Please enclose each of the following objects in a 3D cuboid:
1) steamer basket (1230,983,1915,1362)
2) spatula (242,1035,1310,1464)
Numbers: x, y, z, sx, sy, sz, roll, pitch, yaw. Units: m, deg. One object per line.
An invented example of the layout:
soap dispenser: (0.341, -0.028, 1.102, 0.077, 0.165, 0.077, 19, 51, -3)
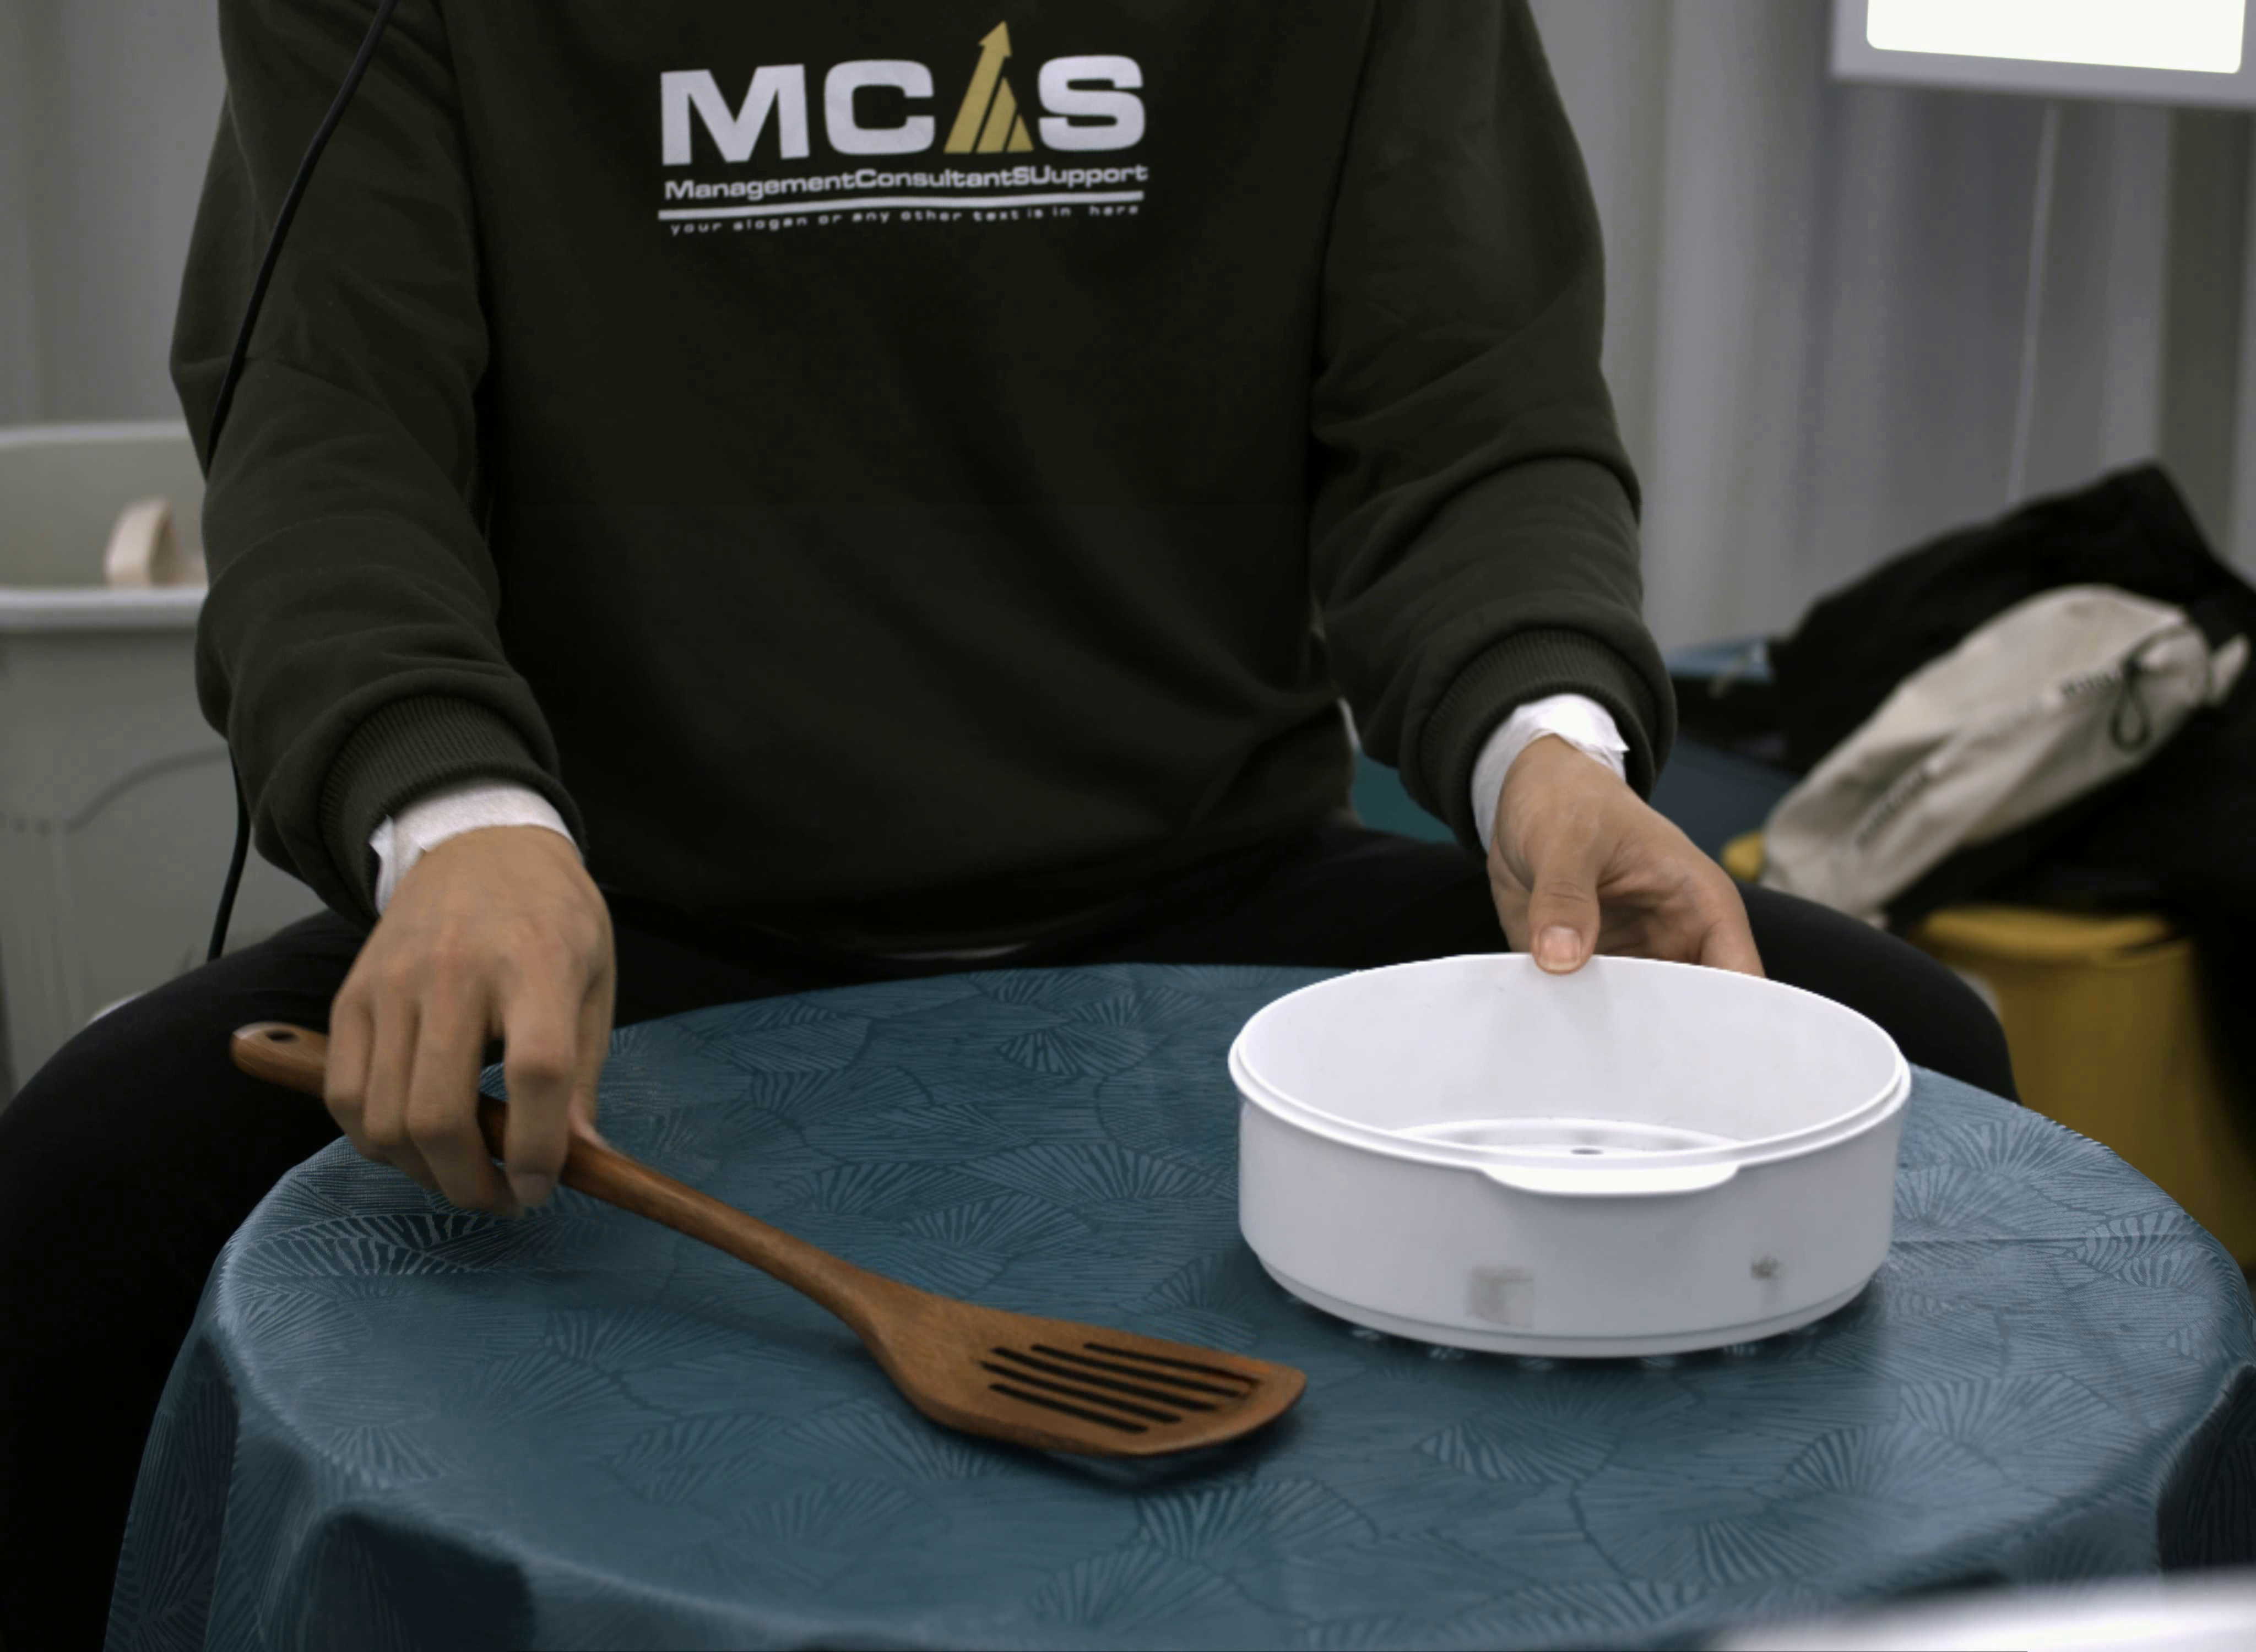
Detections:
steamer basket: (0.129, 0.101, 1.553, 0.201, 0.070, 0.229, 2, 12, -4)
spatula: (-0.119, 0.119, 1.513, 0.380, 0.024, 0.086, 19, 22, 33)
